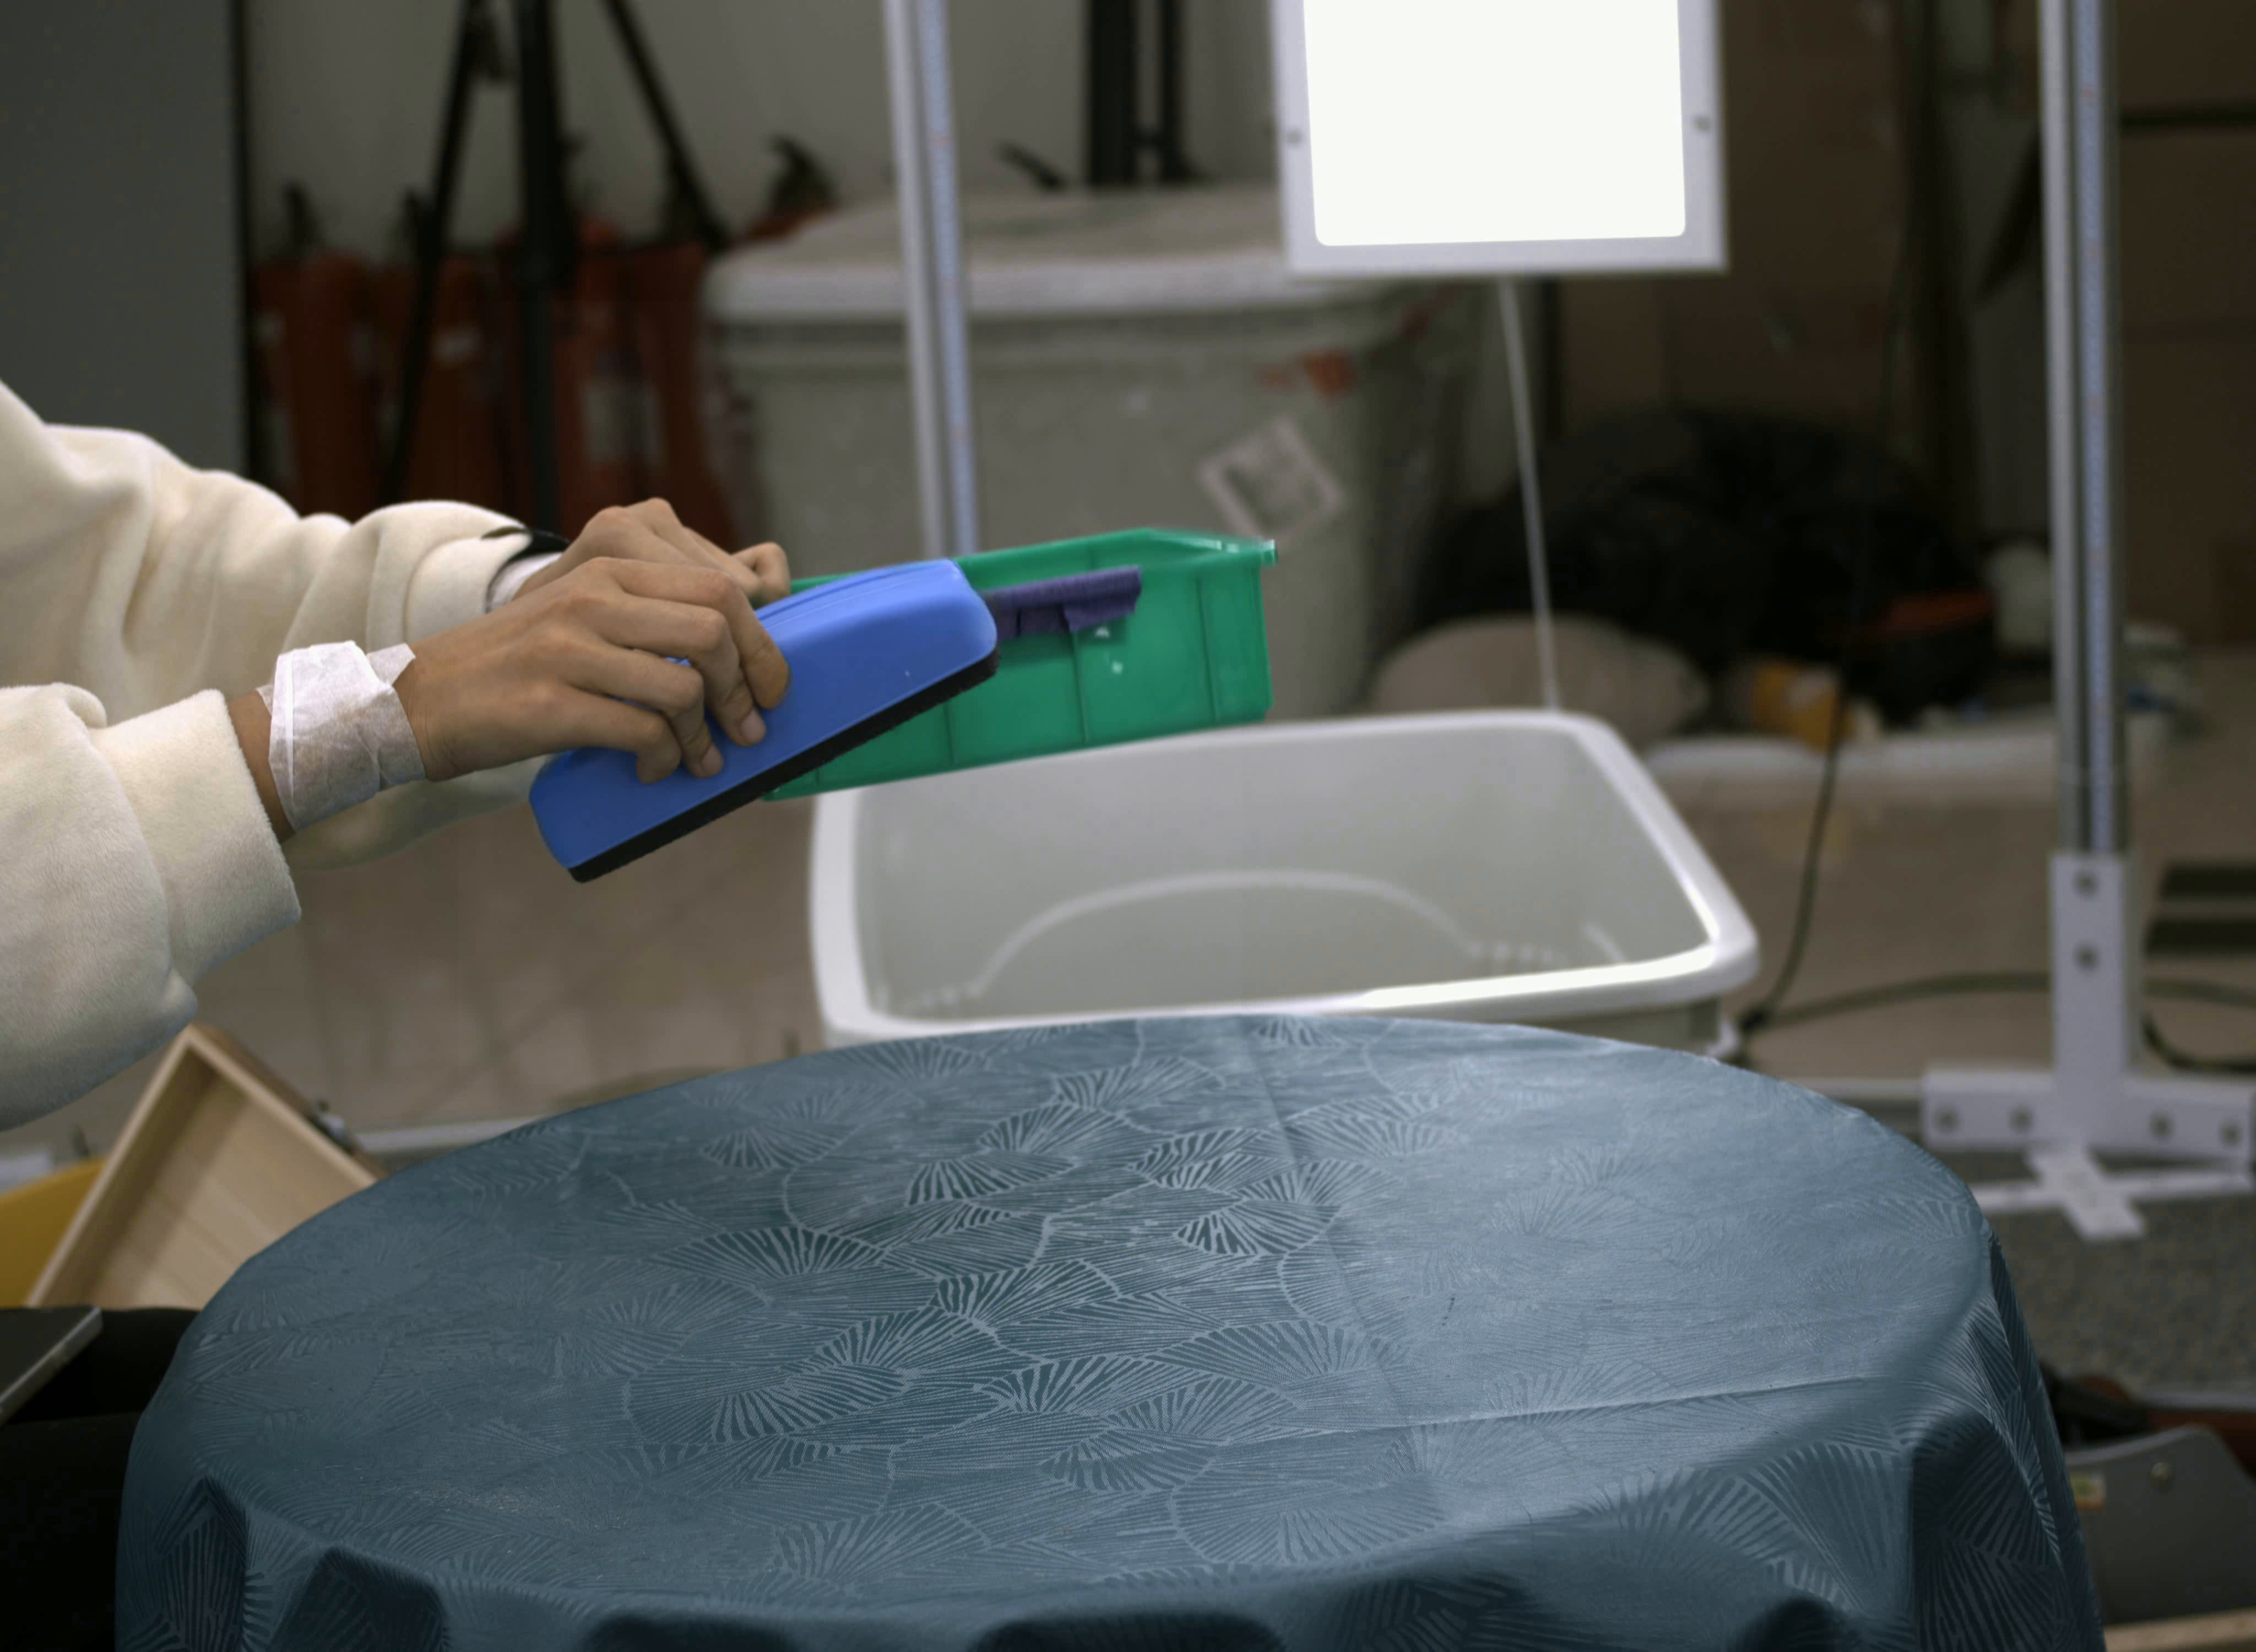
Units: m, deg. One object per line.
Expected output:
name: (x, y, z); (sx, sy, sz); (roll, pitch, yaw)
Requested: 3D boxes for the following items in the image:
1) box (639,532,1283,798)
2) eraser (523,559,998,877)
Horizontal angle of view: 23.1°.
box: (-0.056, -0.056, 1.906); (0.207, 0.065, 0.140); (-8, 10, -17)
eraser: (-0.122, -0.041, 1.791); (0.162, 0.047, 0.054); (-27, 17, 1)
